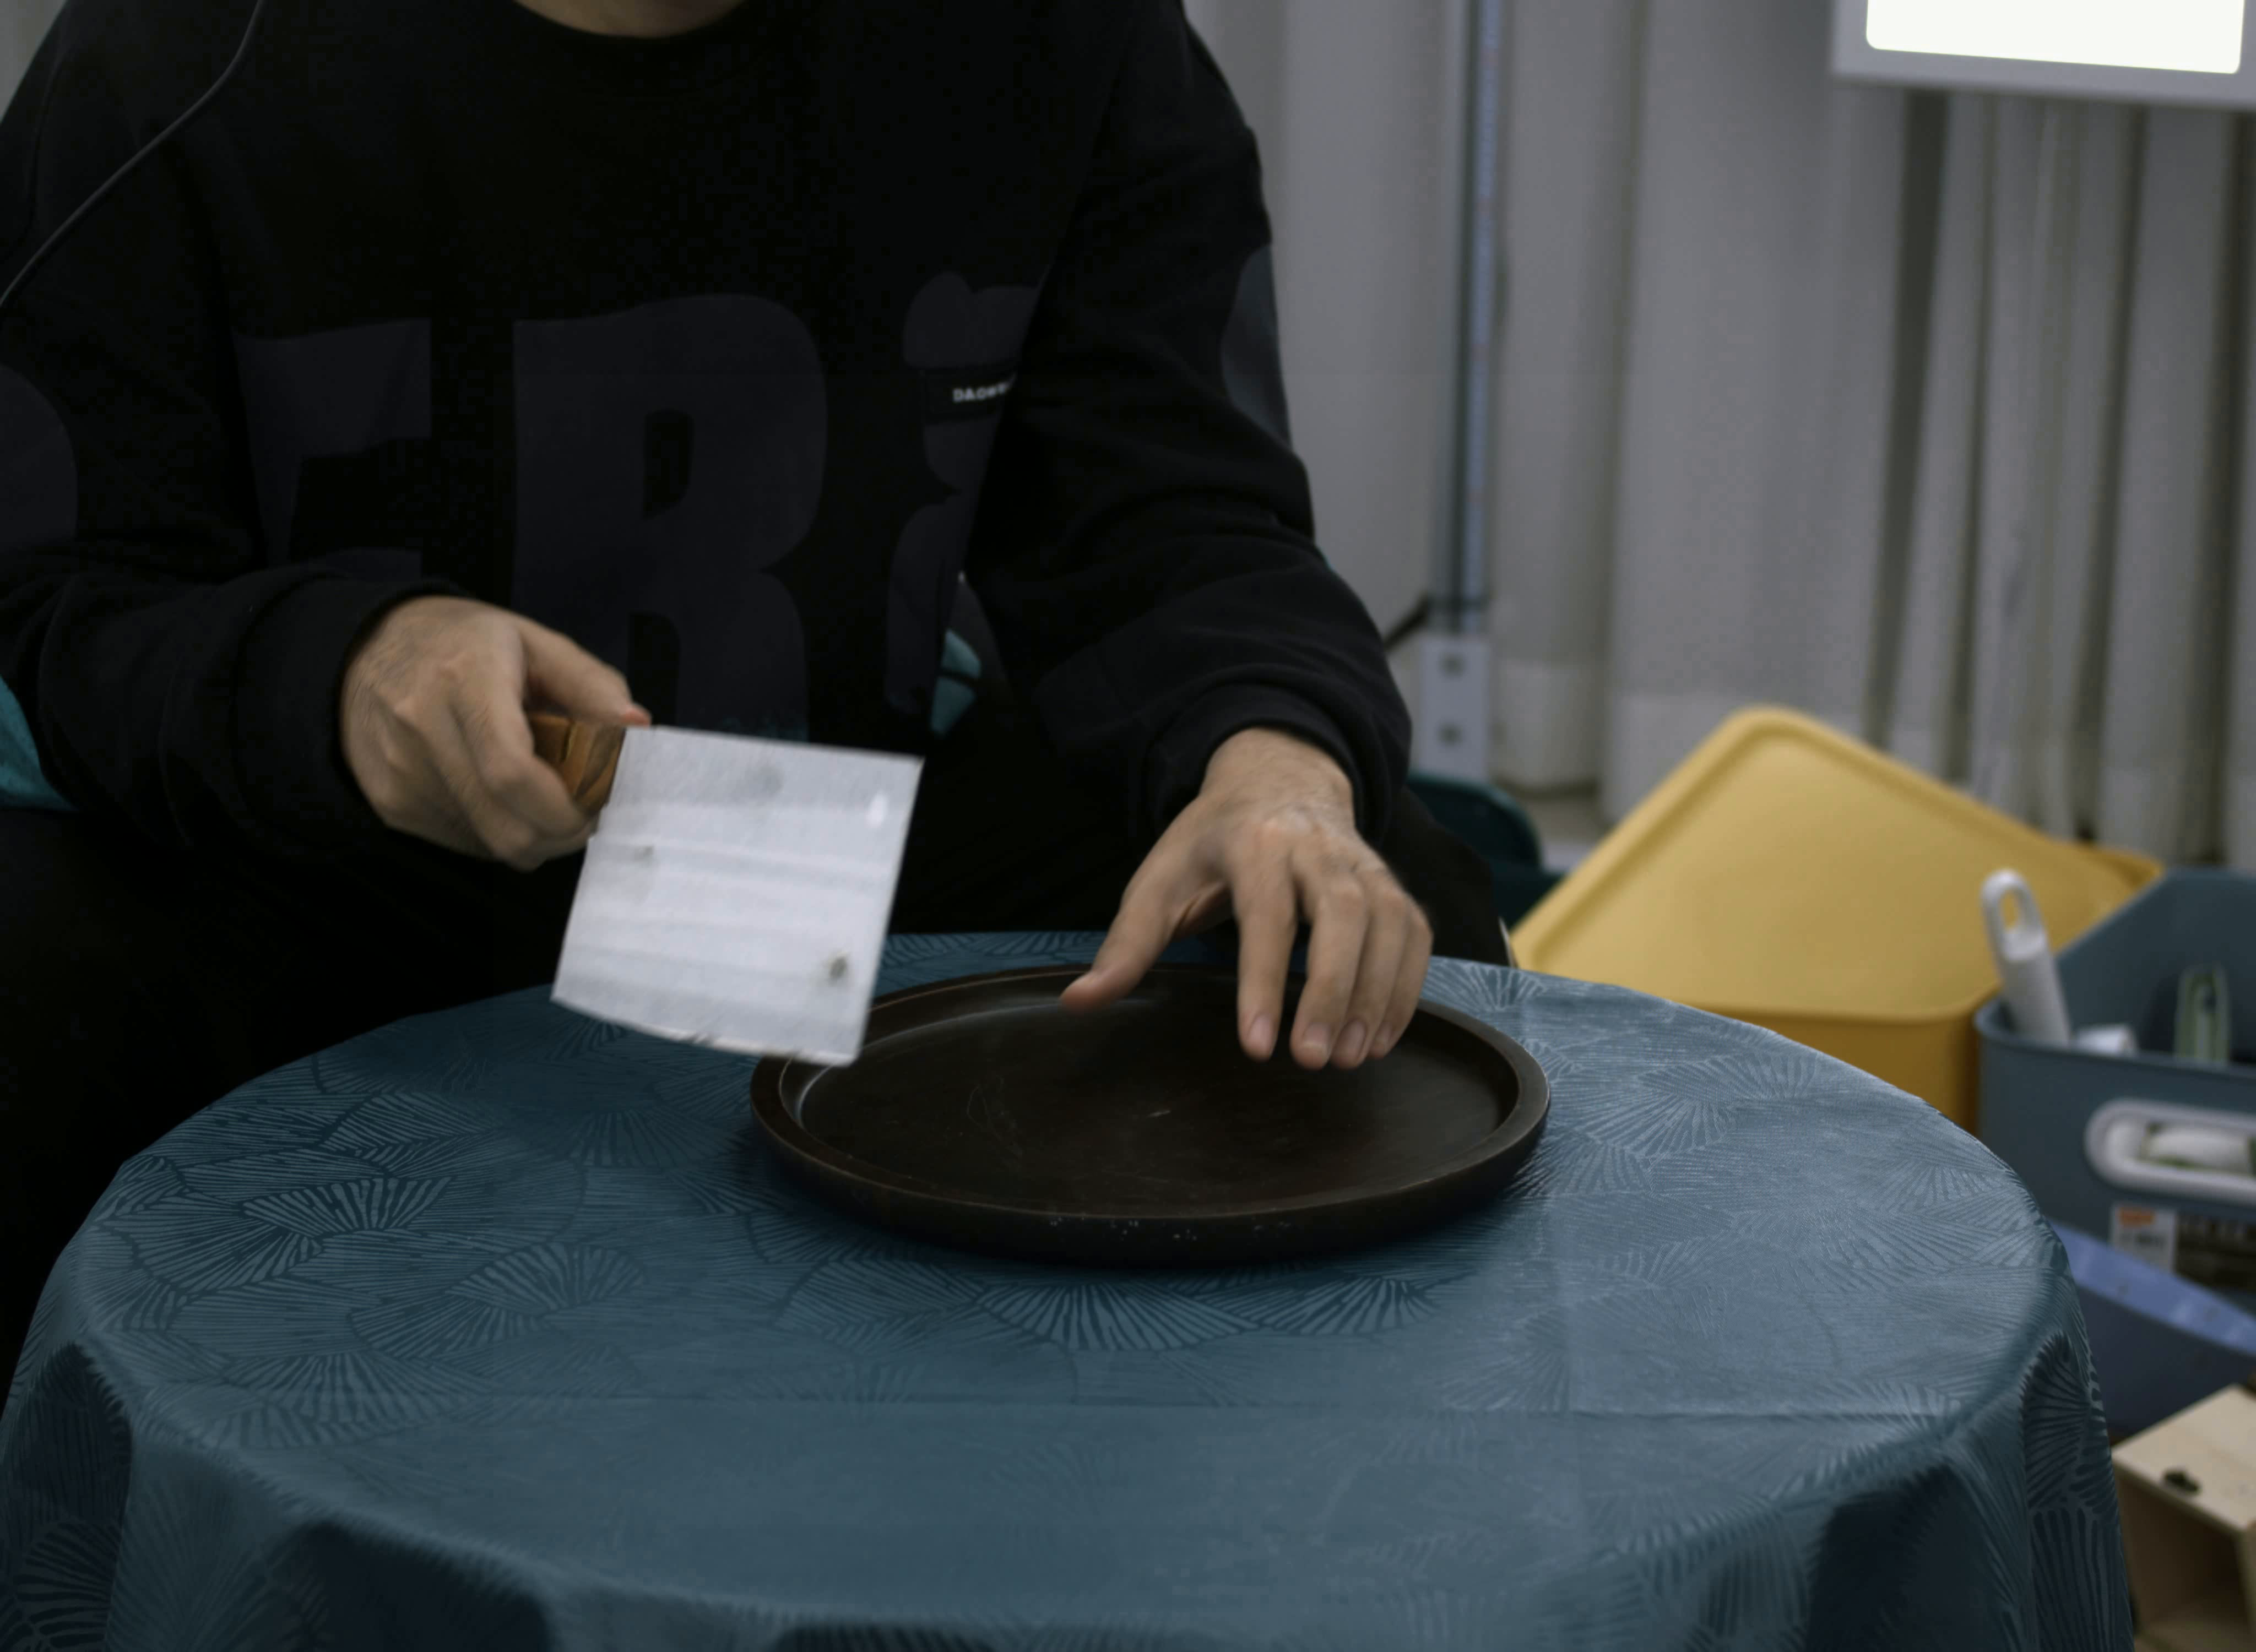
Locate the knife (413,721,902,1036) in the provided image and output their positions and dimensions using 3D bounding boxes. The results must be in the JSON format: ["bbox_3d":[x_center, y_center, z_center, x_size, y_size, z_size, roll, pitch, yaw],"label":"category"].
[{"bbox_3d":[-0.152,0.016,1.610,0.021,0.093,0.302,15,-4,-33],"label":"knife"}]

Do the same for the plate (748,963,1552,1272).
[{"bbox_3d":[0.007,0.089,1.659,0.254,0.029,0.253,0,17,1],"label":"plate"}]
